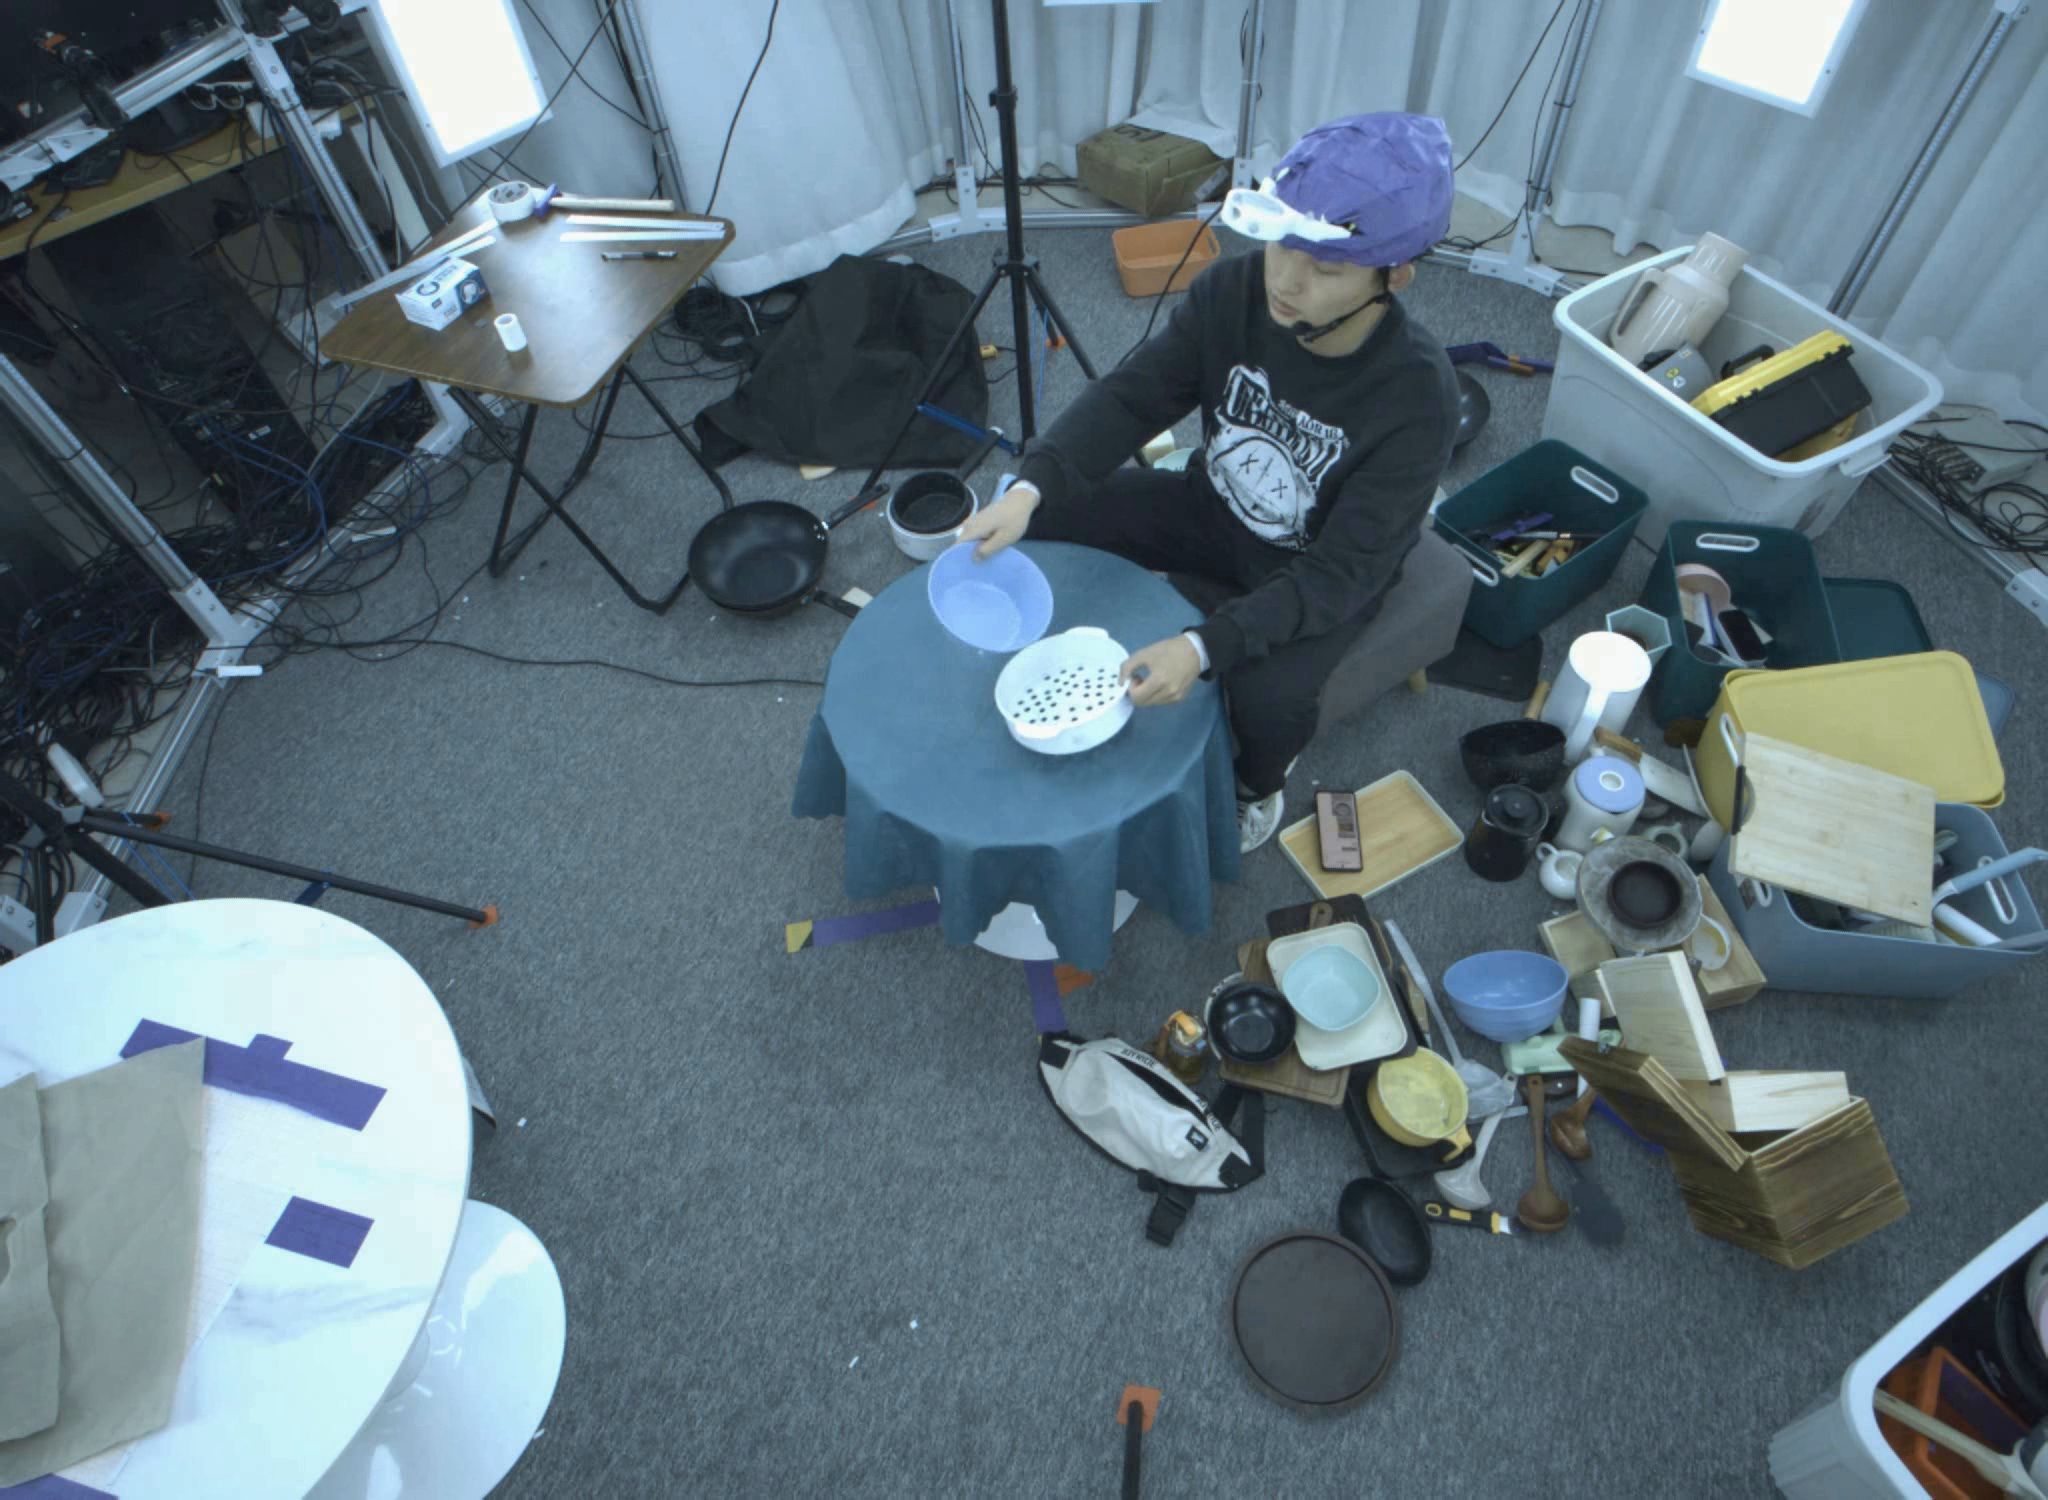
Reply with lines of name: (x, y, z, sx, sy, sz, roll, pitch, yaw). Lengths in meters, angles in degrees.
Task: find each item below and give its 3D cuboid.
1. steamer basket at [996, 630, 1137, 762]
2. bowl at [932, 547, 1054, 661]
steamer basket: (0.064, -0.073, 1.784, 0.198, 0.070, 0.230, 7, 53, 24)
bowl: (-0.052, -0.191, 1.701, 0.178, 0.070, 0.174, 9, 65, -19)
